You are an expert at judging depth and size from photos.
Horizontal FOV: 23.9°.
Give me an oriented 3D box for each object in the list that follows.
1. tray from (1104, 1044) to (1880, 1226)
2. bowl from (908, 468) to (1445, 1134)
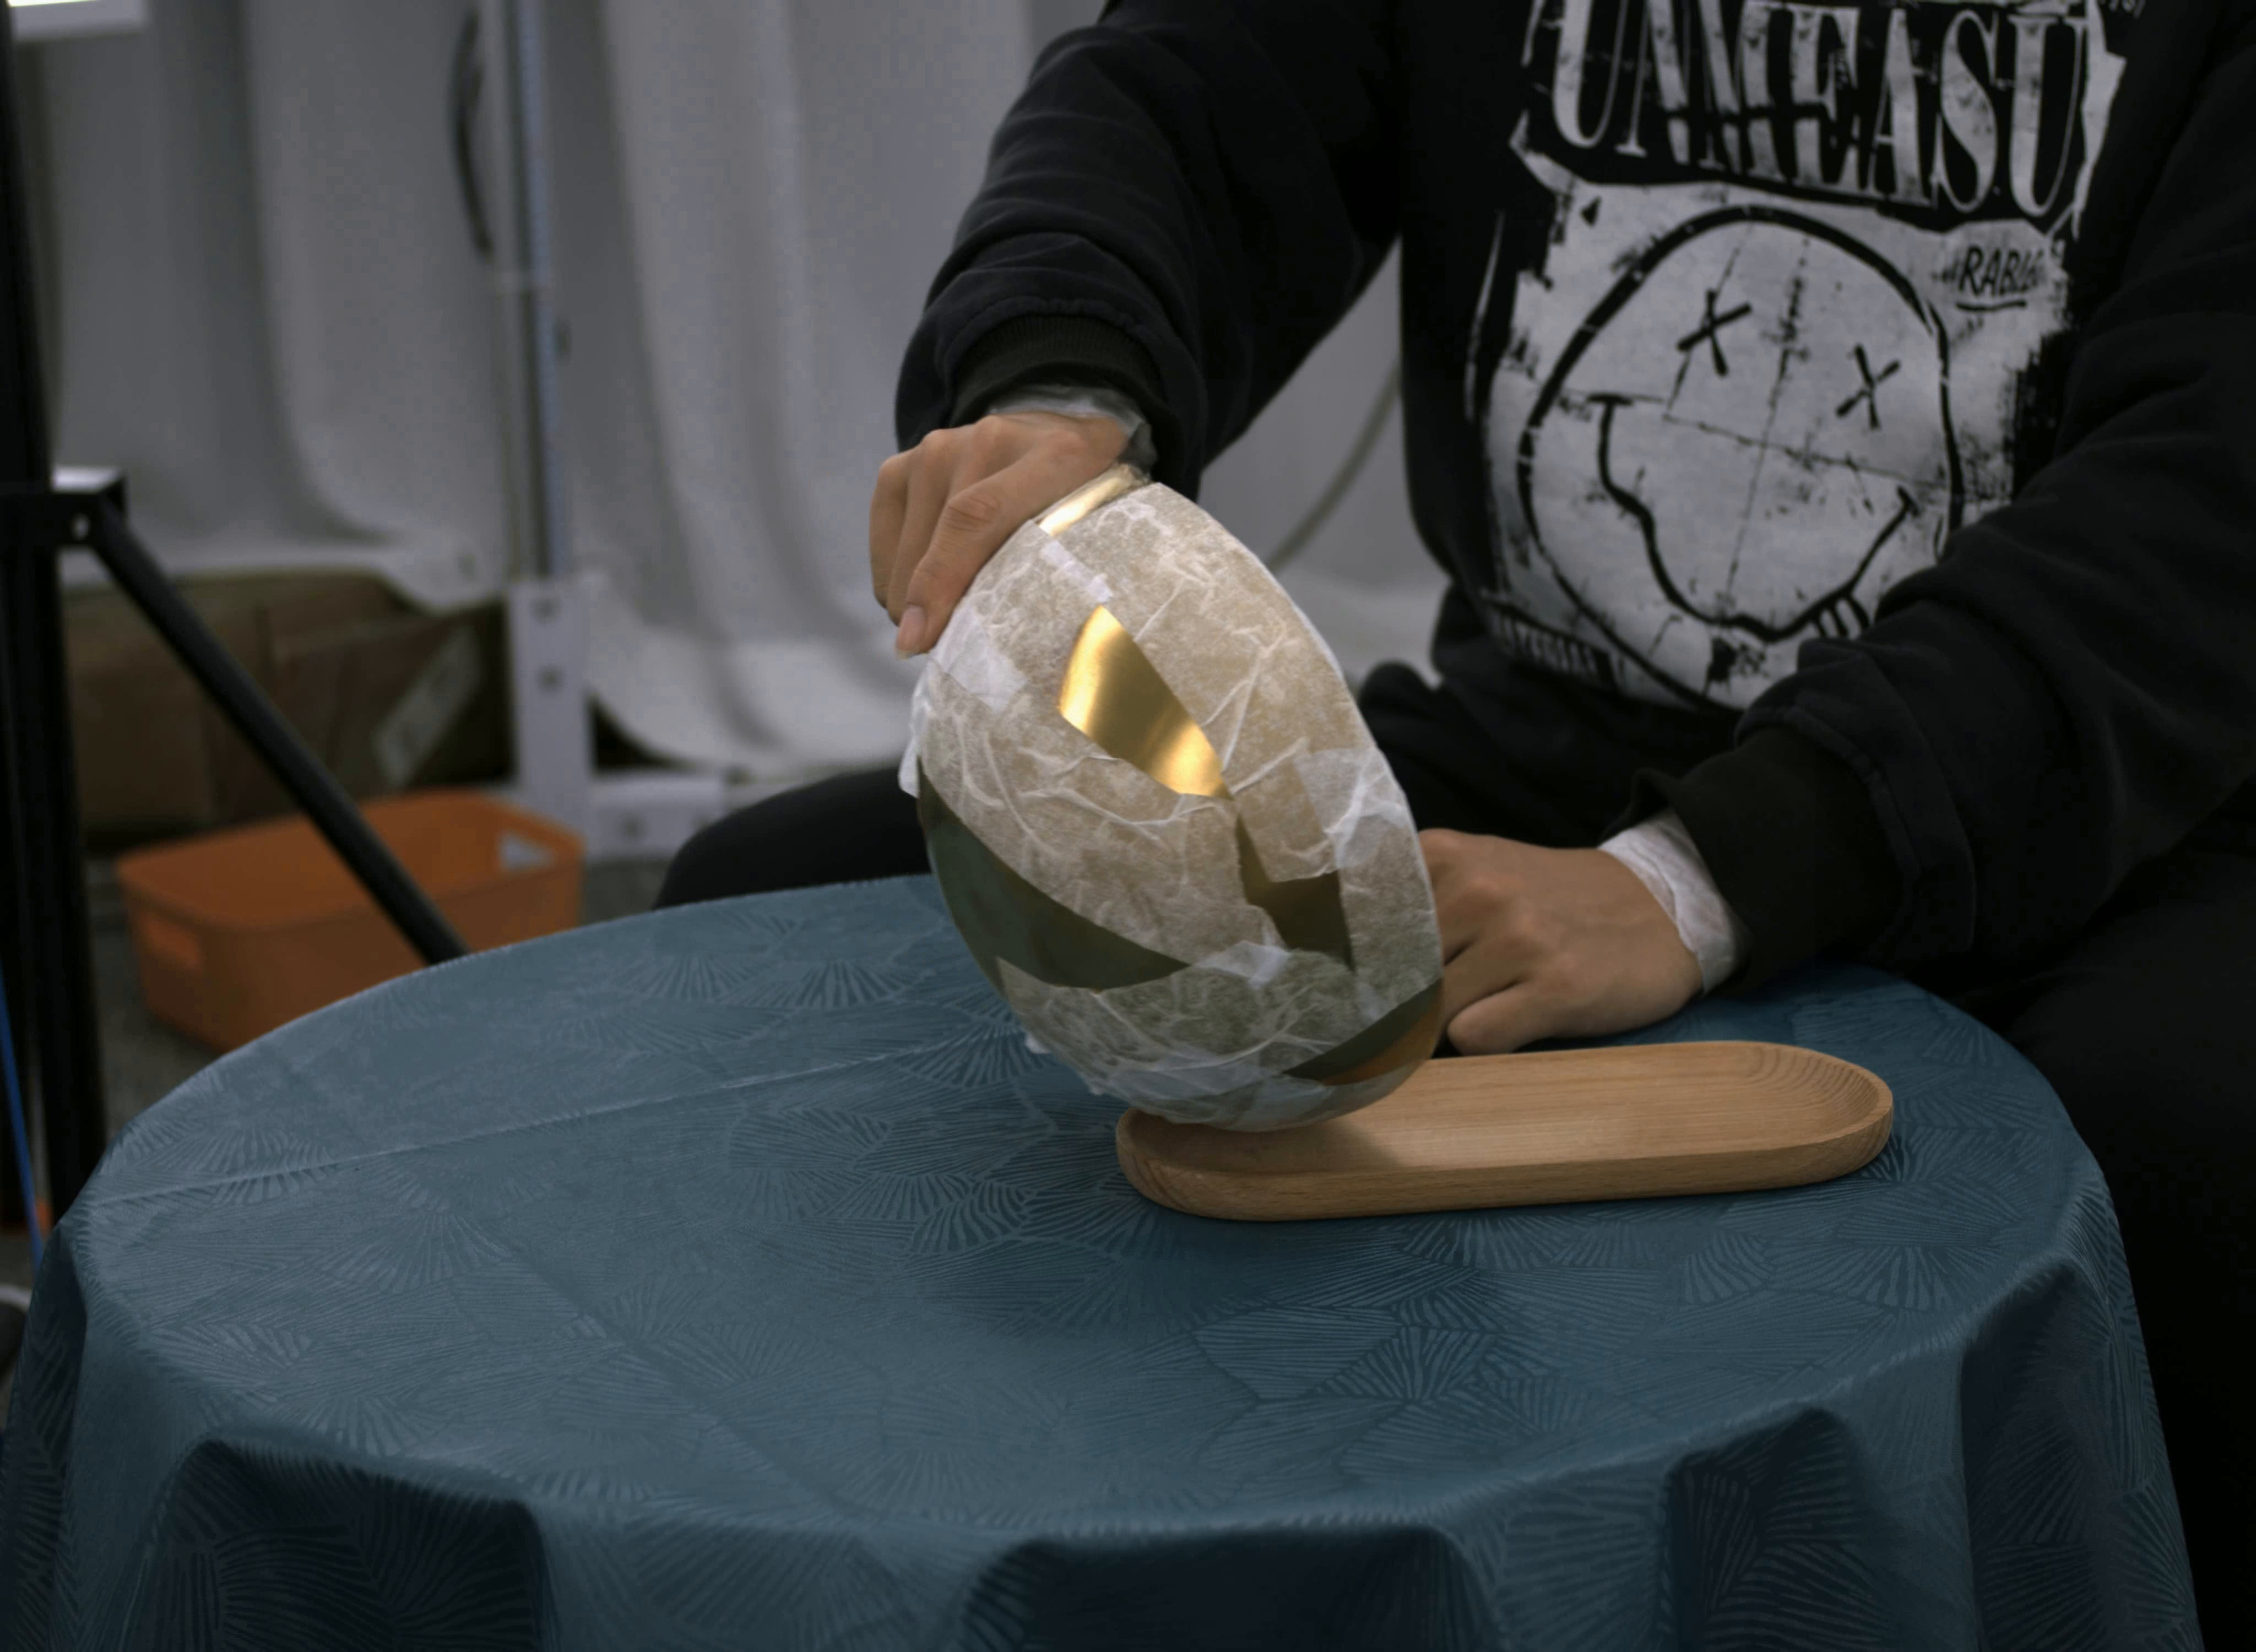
[{"bbox_3d":[0.108,0.092,1.568,0.229,0.020,0.102,-5,14,-3],"label":"tray"},{"bbox_3d":[-0.003,0.010,1.542,0.093,0.213,0.219,-27,24,-20],"label":"bowl"}]
